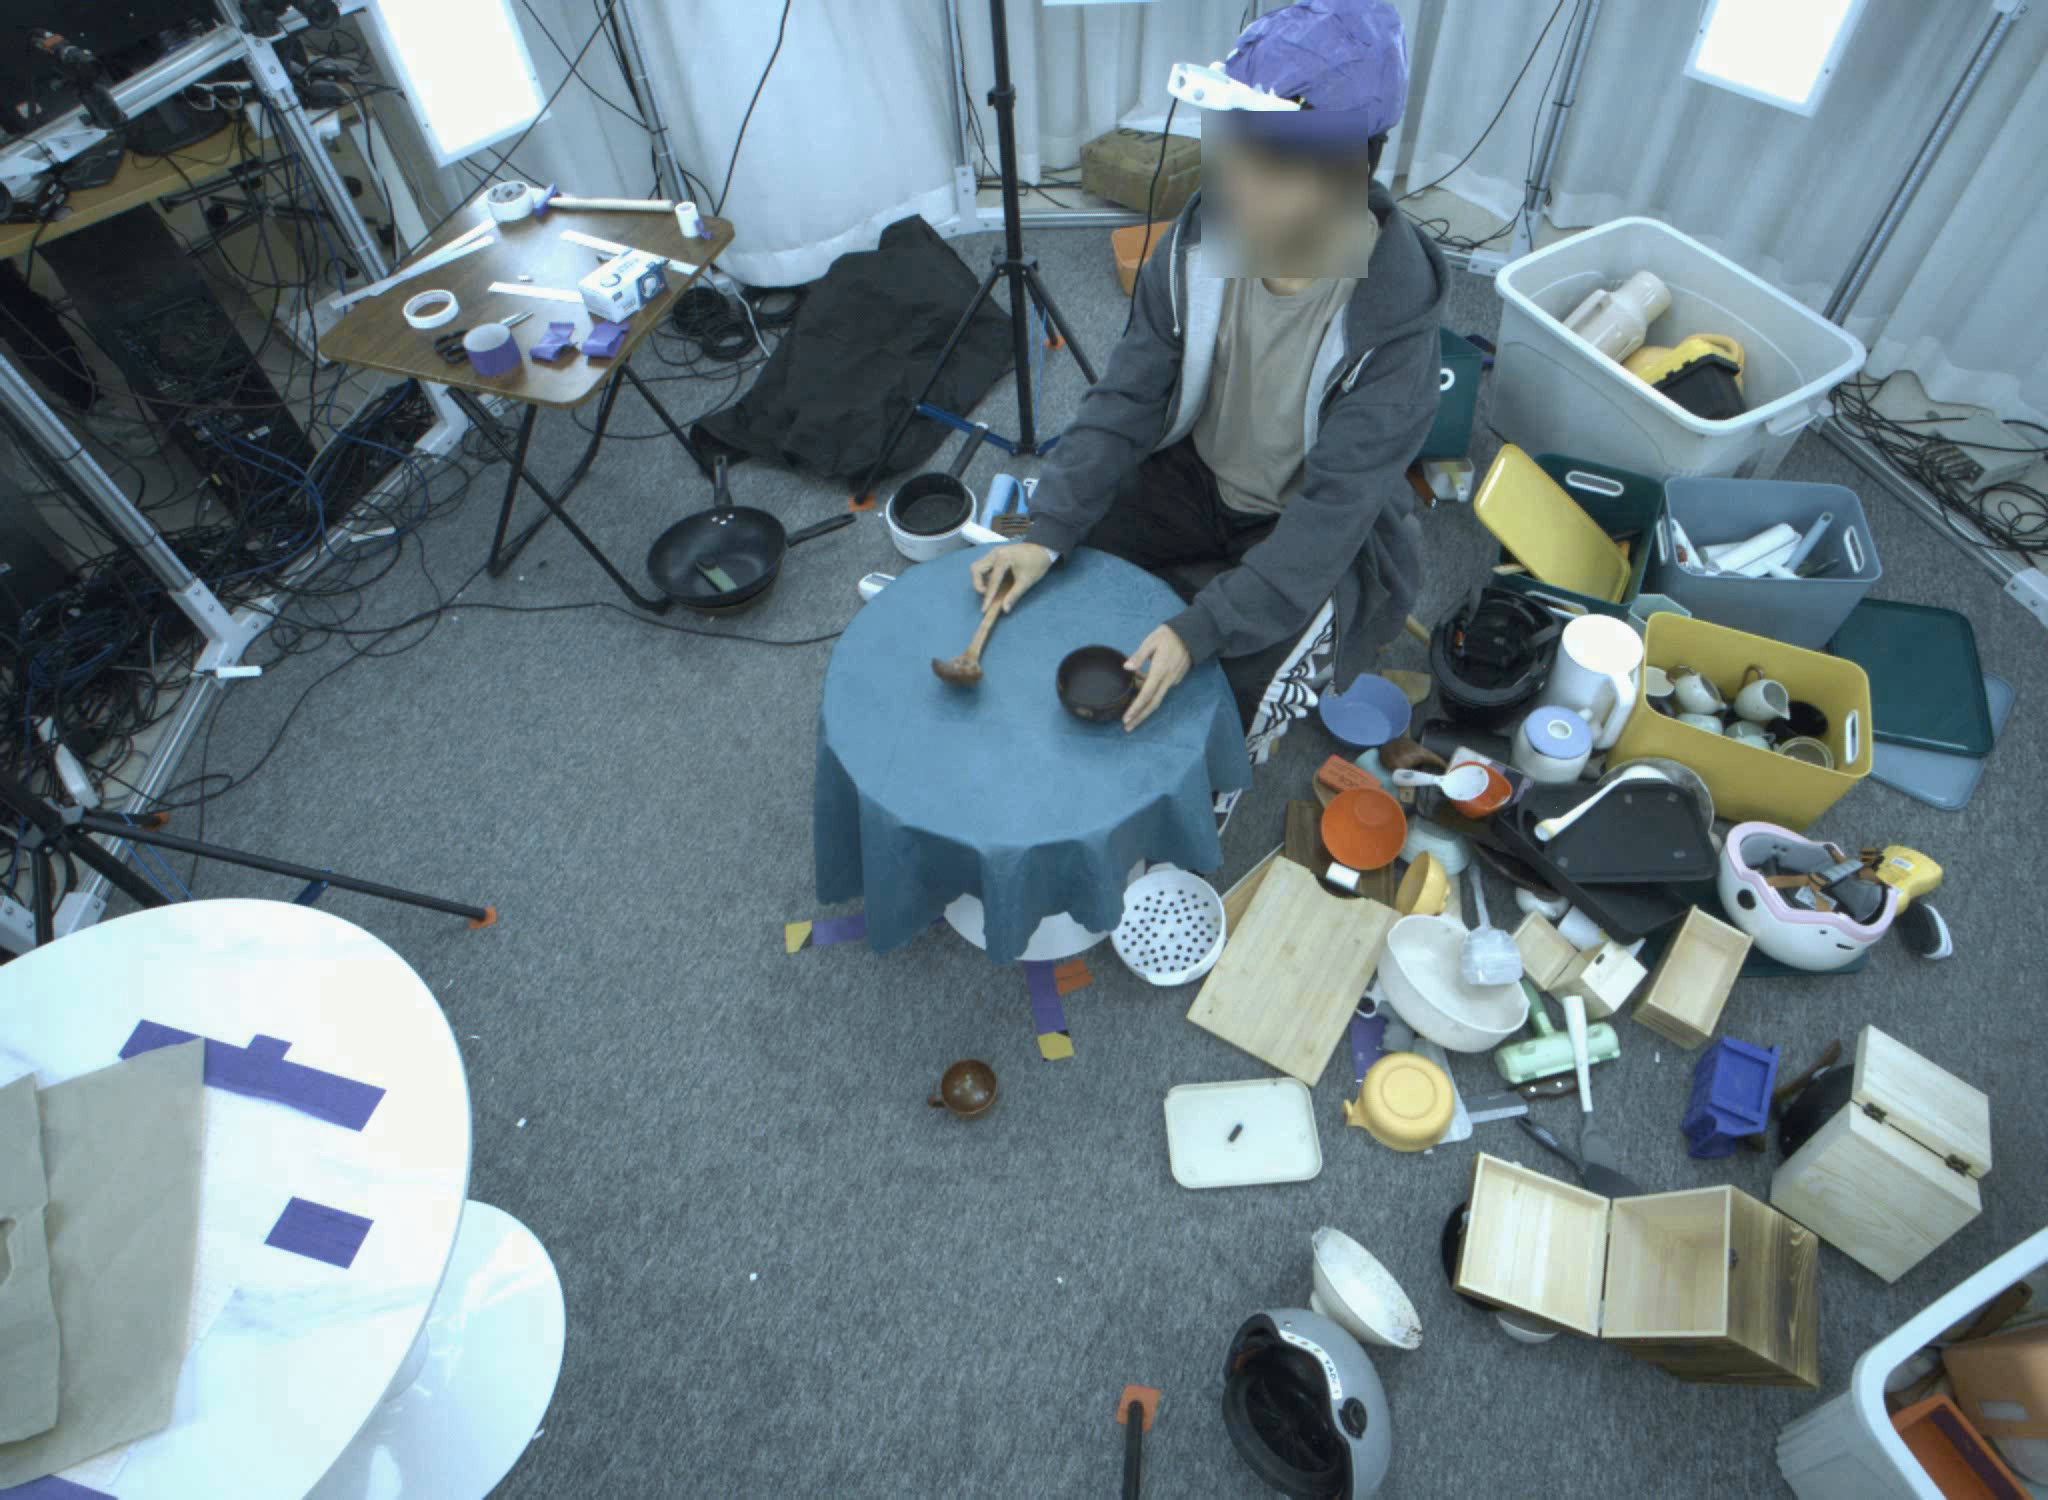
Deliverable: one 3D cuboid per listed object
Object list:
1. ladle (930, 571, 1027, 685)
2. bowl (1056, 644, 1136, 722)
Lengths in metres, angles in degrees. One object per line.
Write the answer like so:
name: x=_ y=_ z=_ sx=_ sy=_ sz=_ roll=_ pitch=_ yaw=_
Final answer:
ladle: x=-0.061 y=-0.202 z=1.887 sx=0.081 sy=0.077 sz=0.274 roll=21 pitch=58 yaw=10
bowl: x=0.106 y=-0.090 z=1.805 sx=0.118 sy=0.070 sz=0.117 roll=-1 pitch=54 yaw=3
